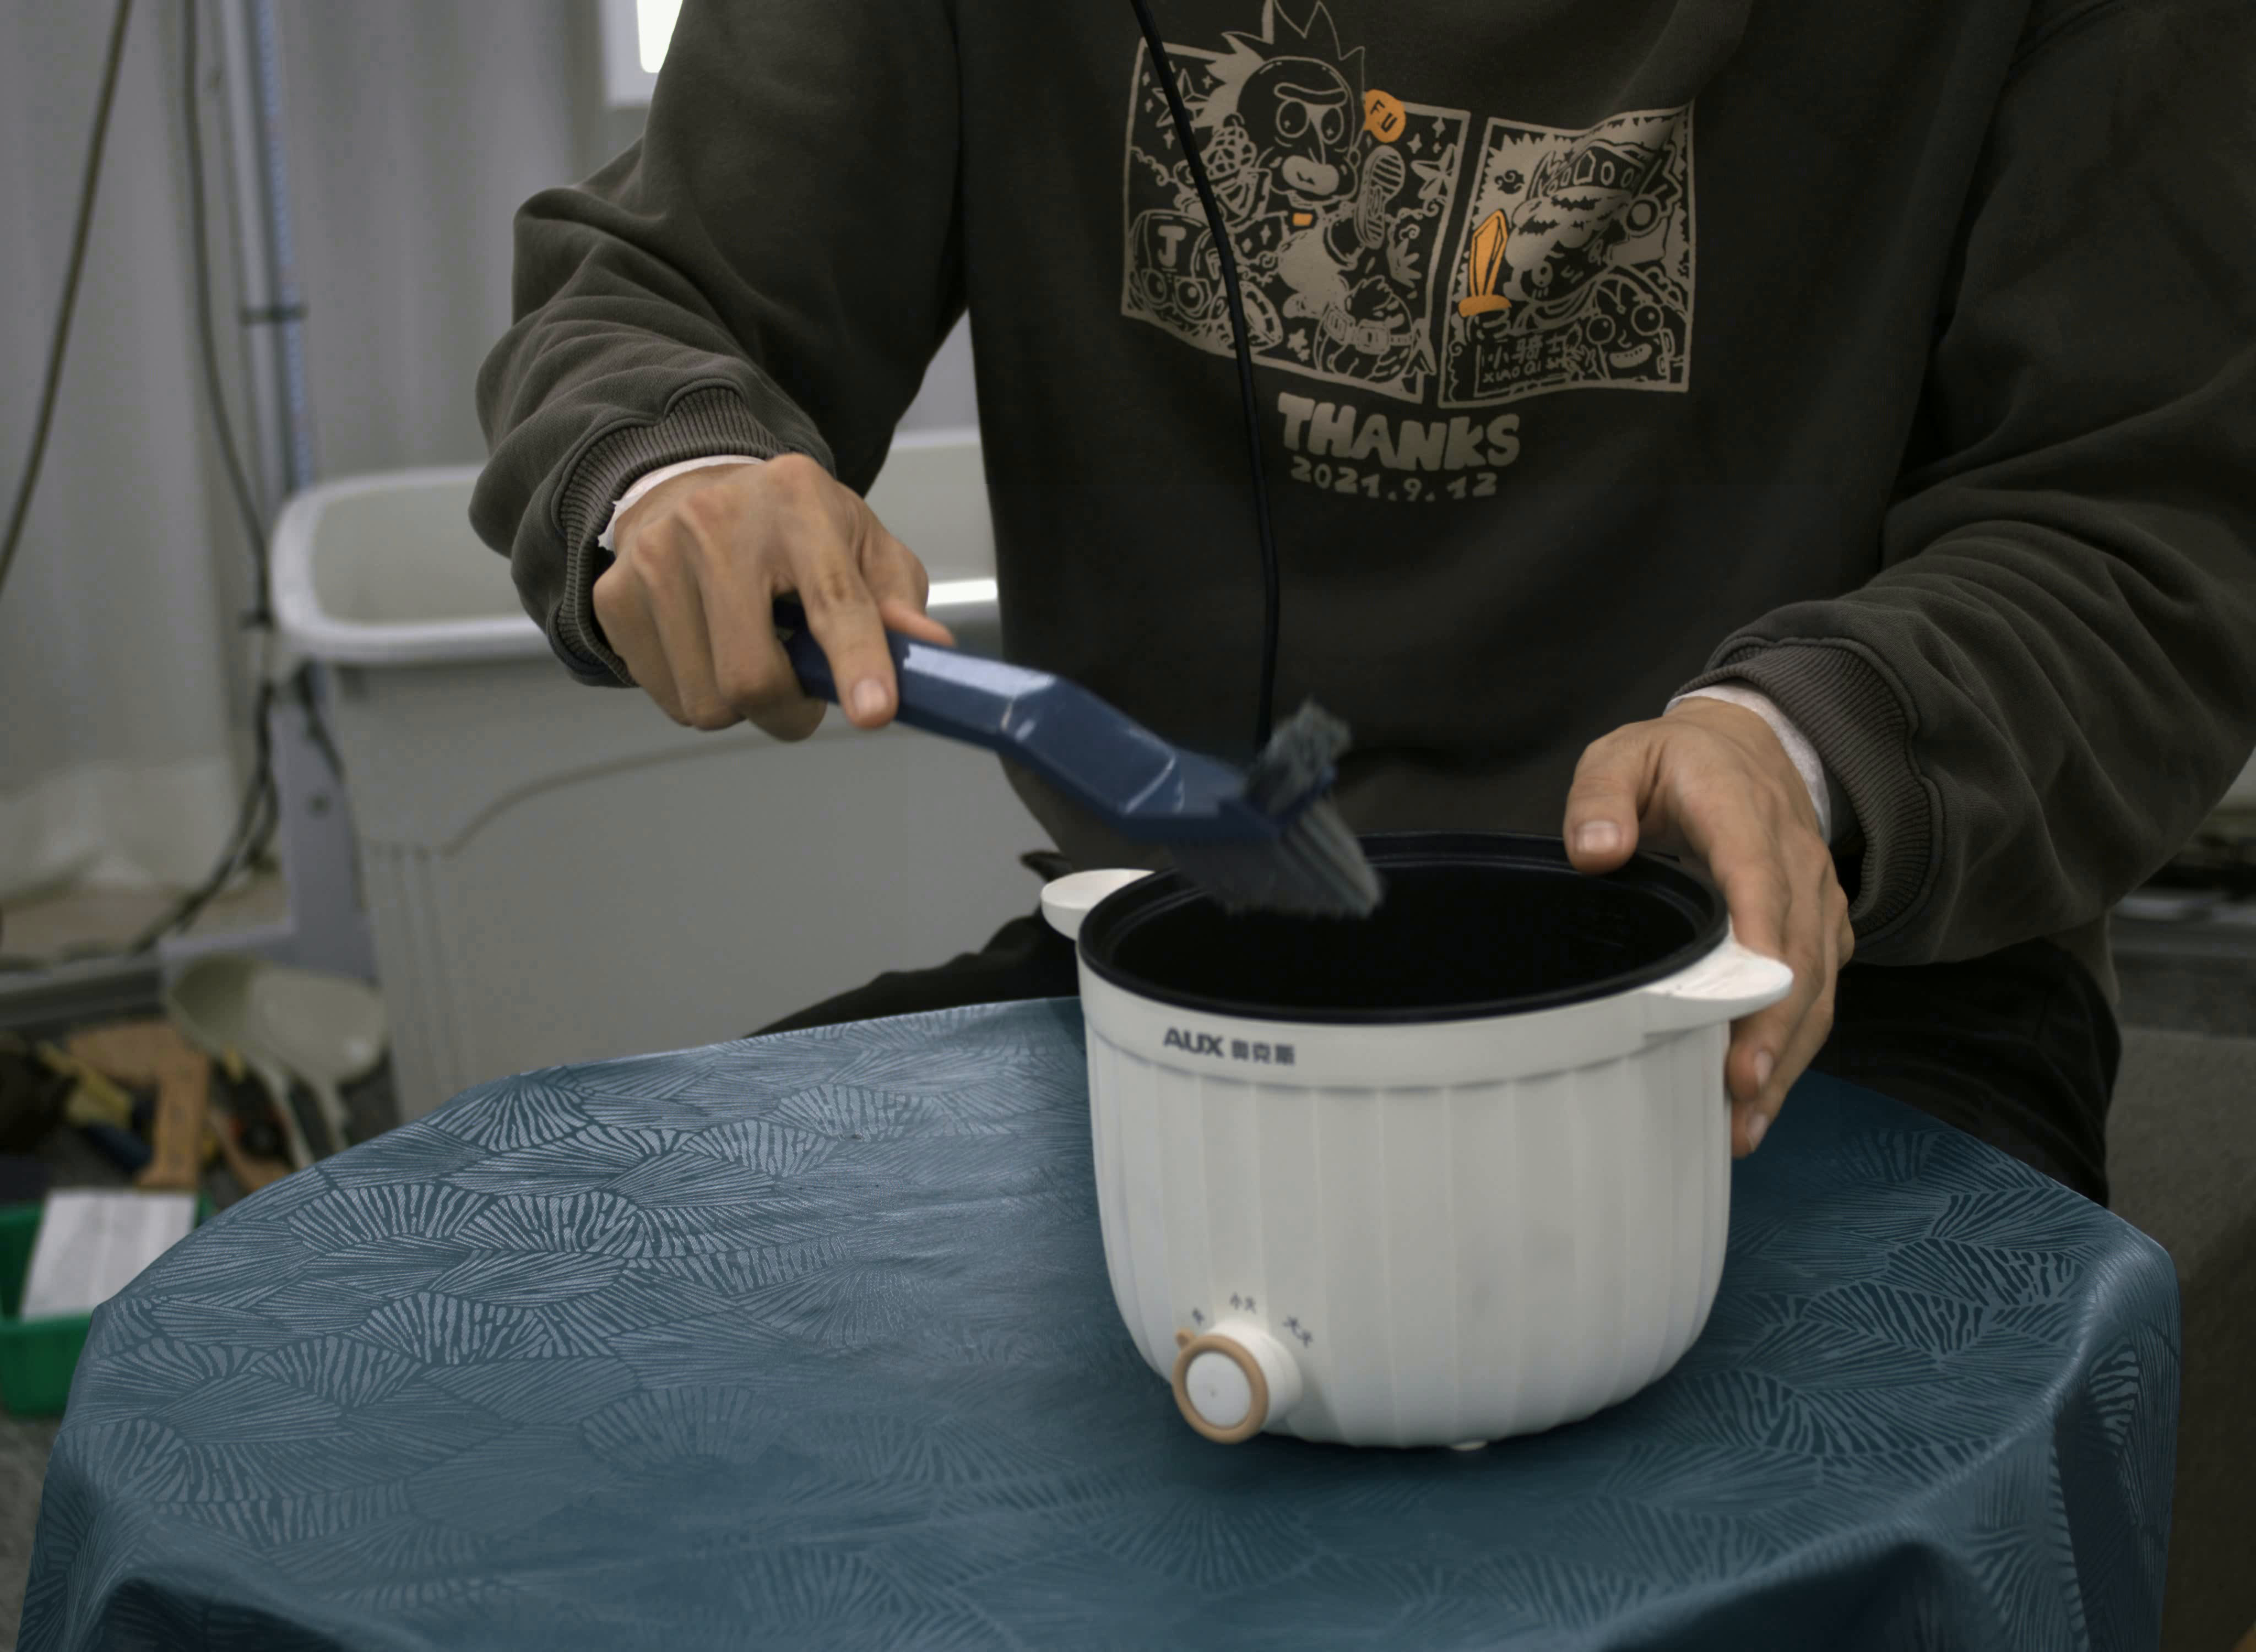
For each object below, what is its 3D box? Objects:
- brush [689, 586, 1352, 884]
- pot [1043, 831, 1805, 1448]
[{"bbox_3d":[-0.037,-0.040,1.511,0.275,0.094,0.033,23,61,42],"label":"brush"},{"bbox_3d":[0.078,0.090,1.530,0.241,0.142,0.190,6,14,34],"label":"pot"}]
